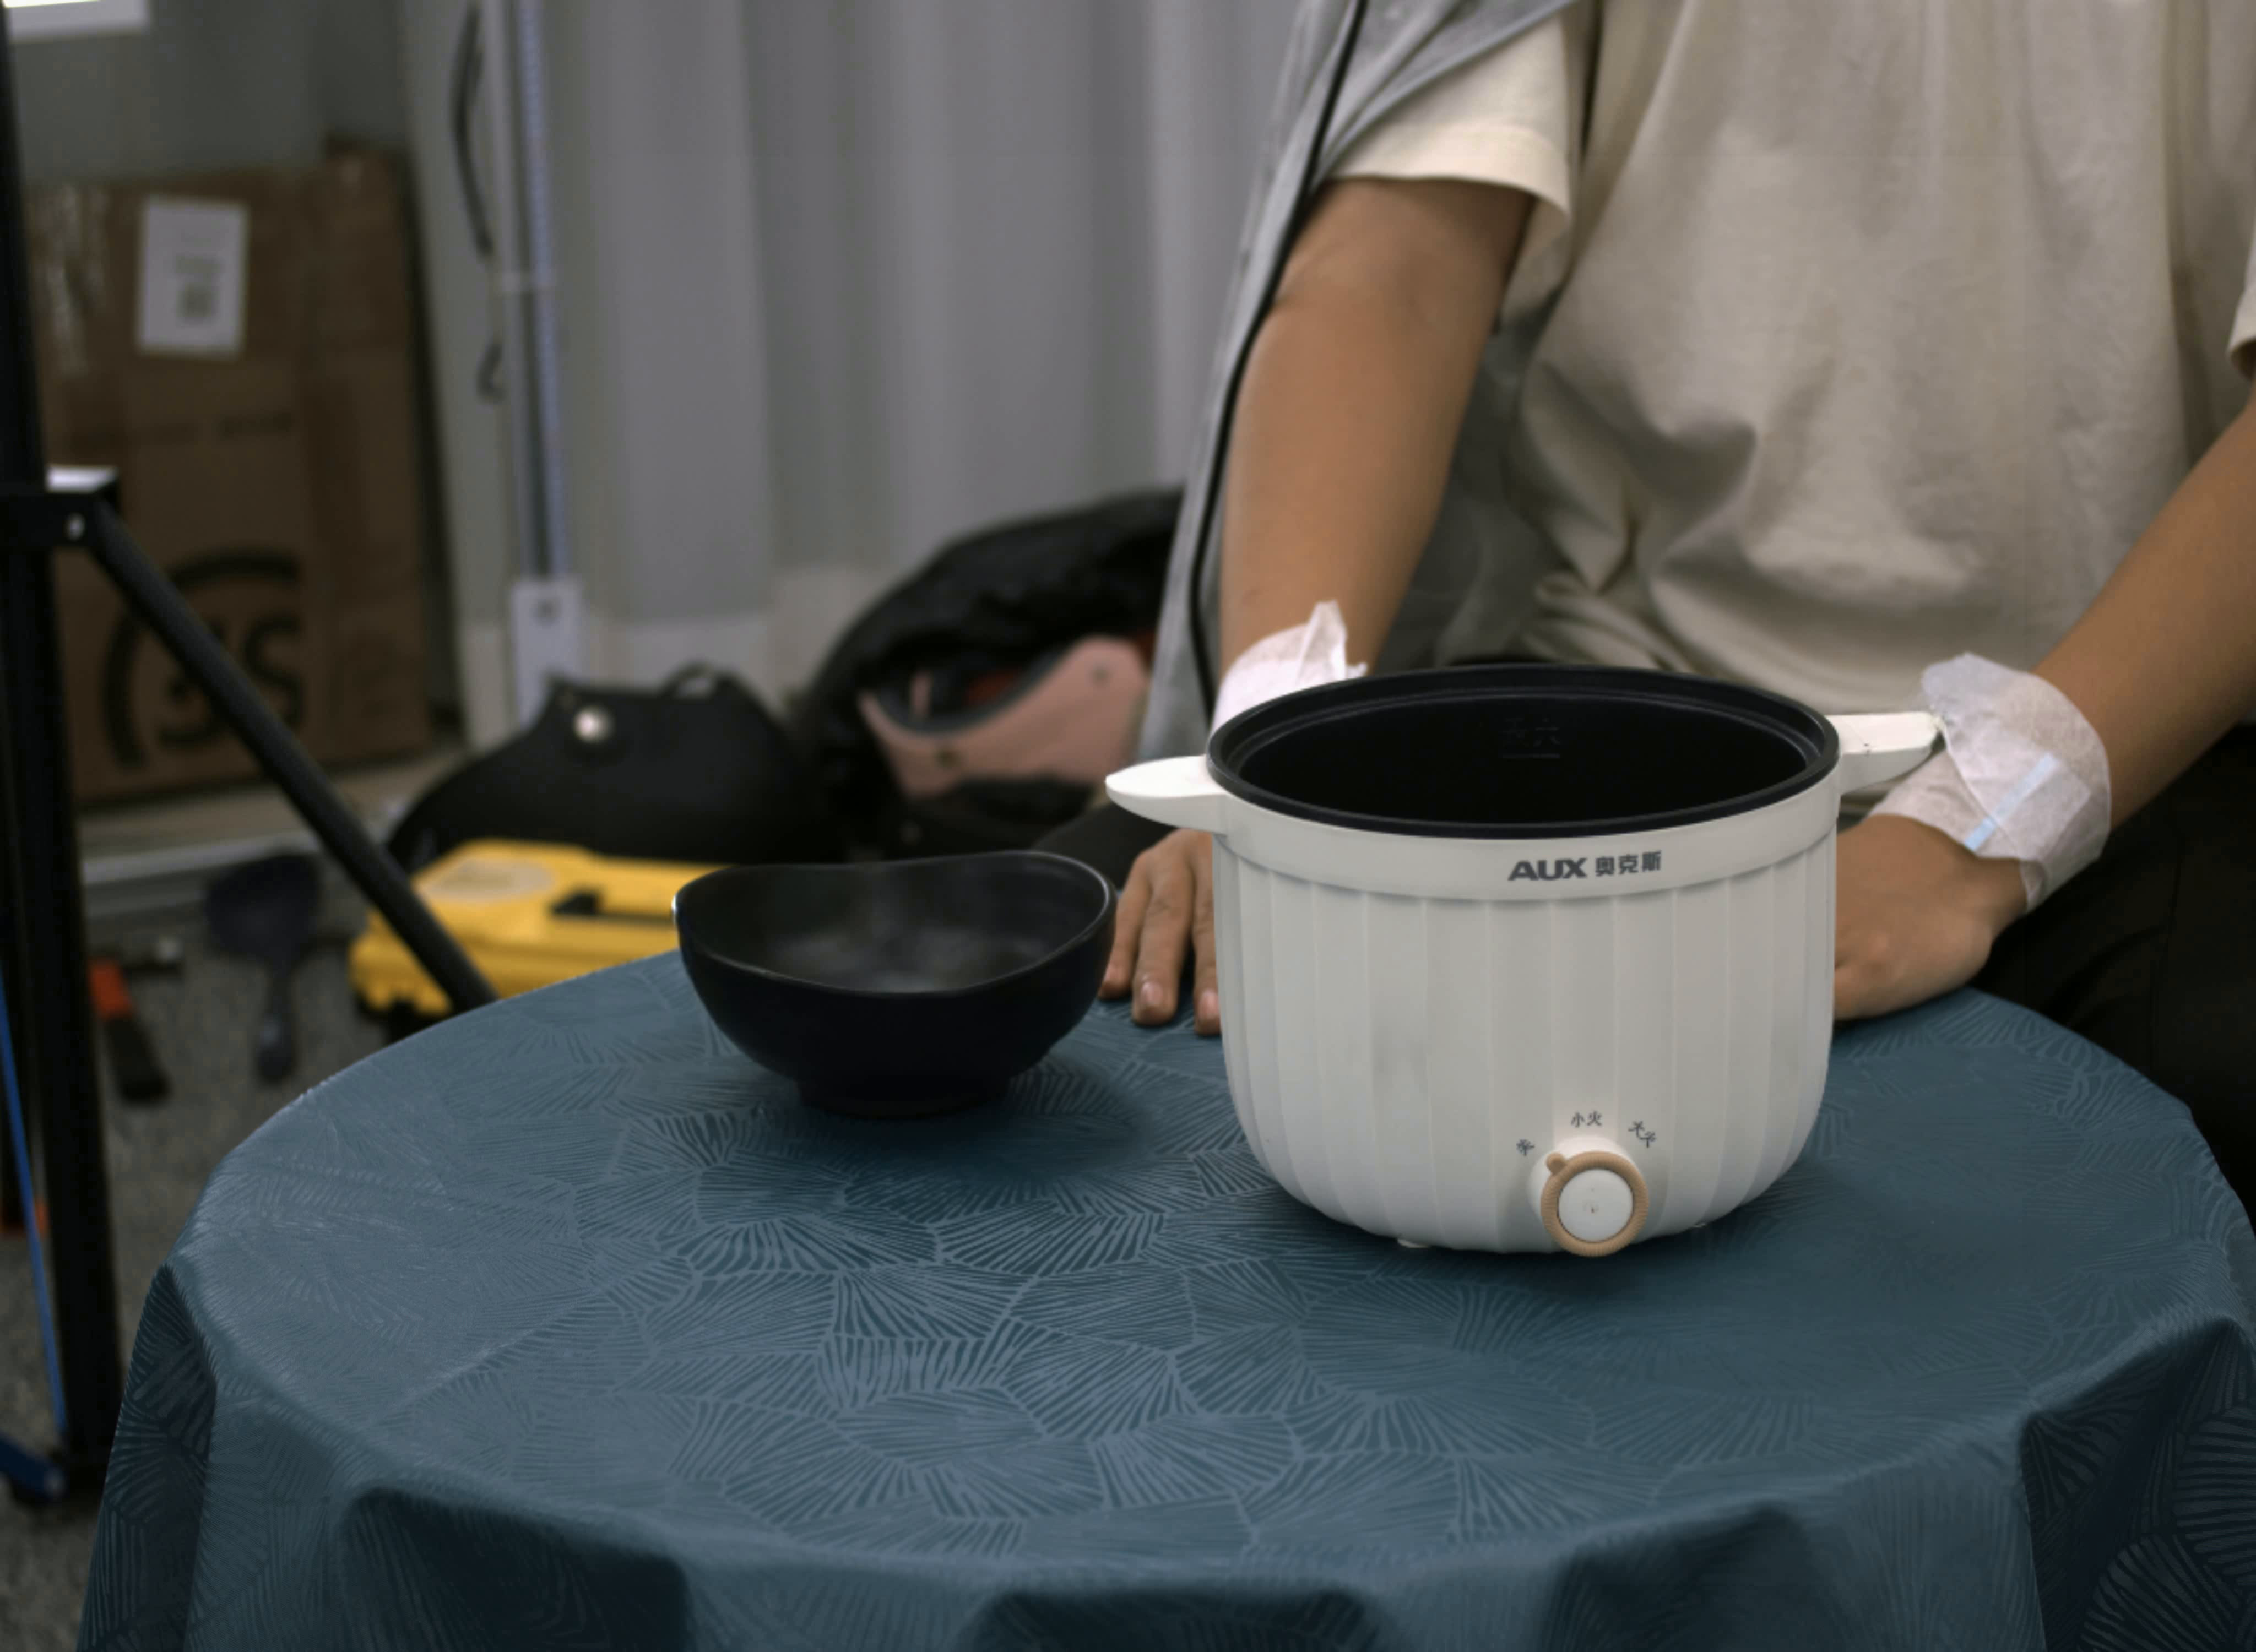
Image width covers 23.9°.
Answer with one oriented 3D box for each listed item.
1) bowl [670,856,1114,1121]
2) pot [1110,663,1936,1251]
[{"bbox_3d":[-0.072,0.052,1.651,0.136,0.067,0.172,-3,14,-6],"label":"bowl"},{"bbox_3d":[0.117,0.040,1.522,0.238,0.143,0.192,-5,12,-5],"label":"pot"}]
